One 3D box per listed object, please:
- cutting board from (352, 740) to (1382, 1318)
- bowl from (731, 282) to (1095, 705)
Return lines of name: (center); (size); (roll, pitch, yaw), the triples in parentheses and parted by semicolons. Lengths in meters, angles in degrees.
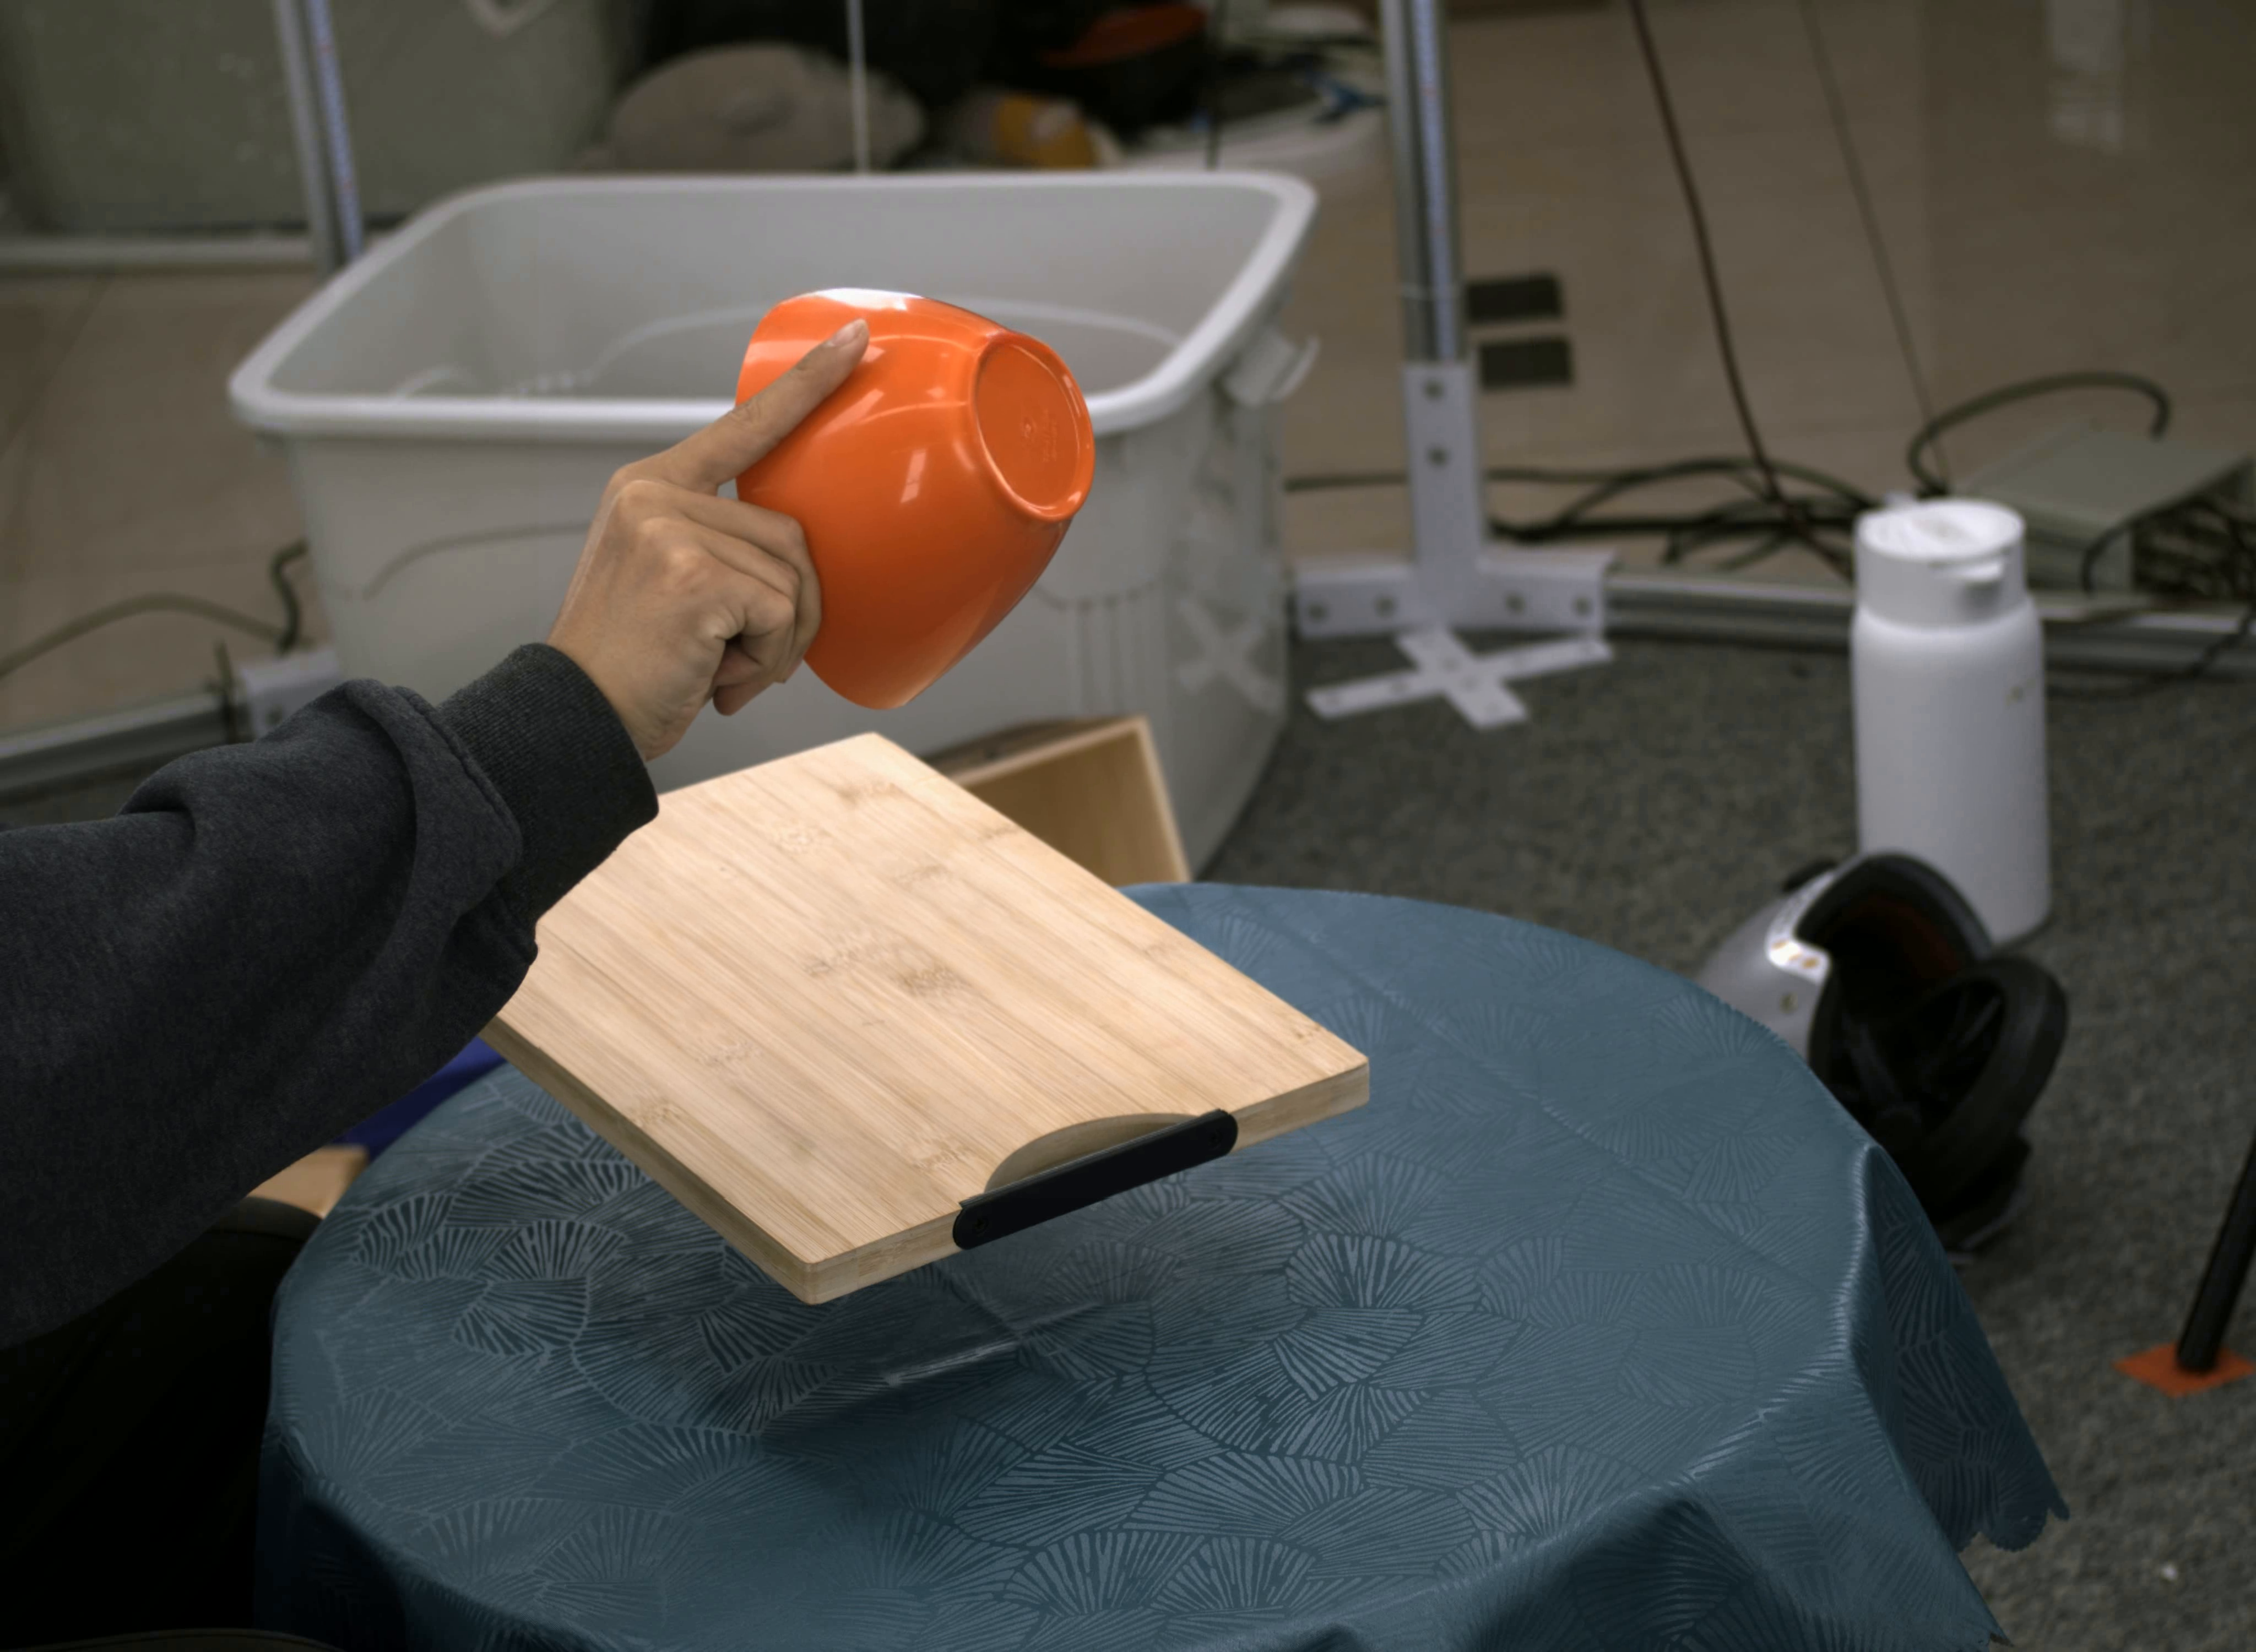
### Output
cutting board: (-0.102, 0.066, 2.101); (0.249, 0.024, 0.344); (-19, 32, -30)
bowl: (-0.064, -0.123, 1.929); (0.105, 0.149, 0.146); (-12, 17, 37)
